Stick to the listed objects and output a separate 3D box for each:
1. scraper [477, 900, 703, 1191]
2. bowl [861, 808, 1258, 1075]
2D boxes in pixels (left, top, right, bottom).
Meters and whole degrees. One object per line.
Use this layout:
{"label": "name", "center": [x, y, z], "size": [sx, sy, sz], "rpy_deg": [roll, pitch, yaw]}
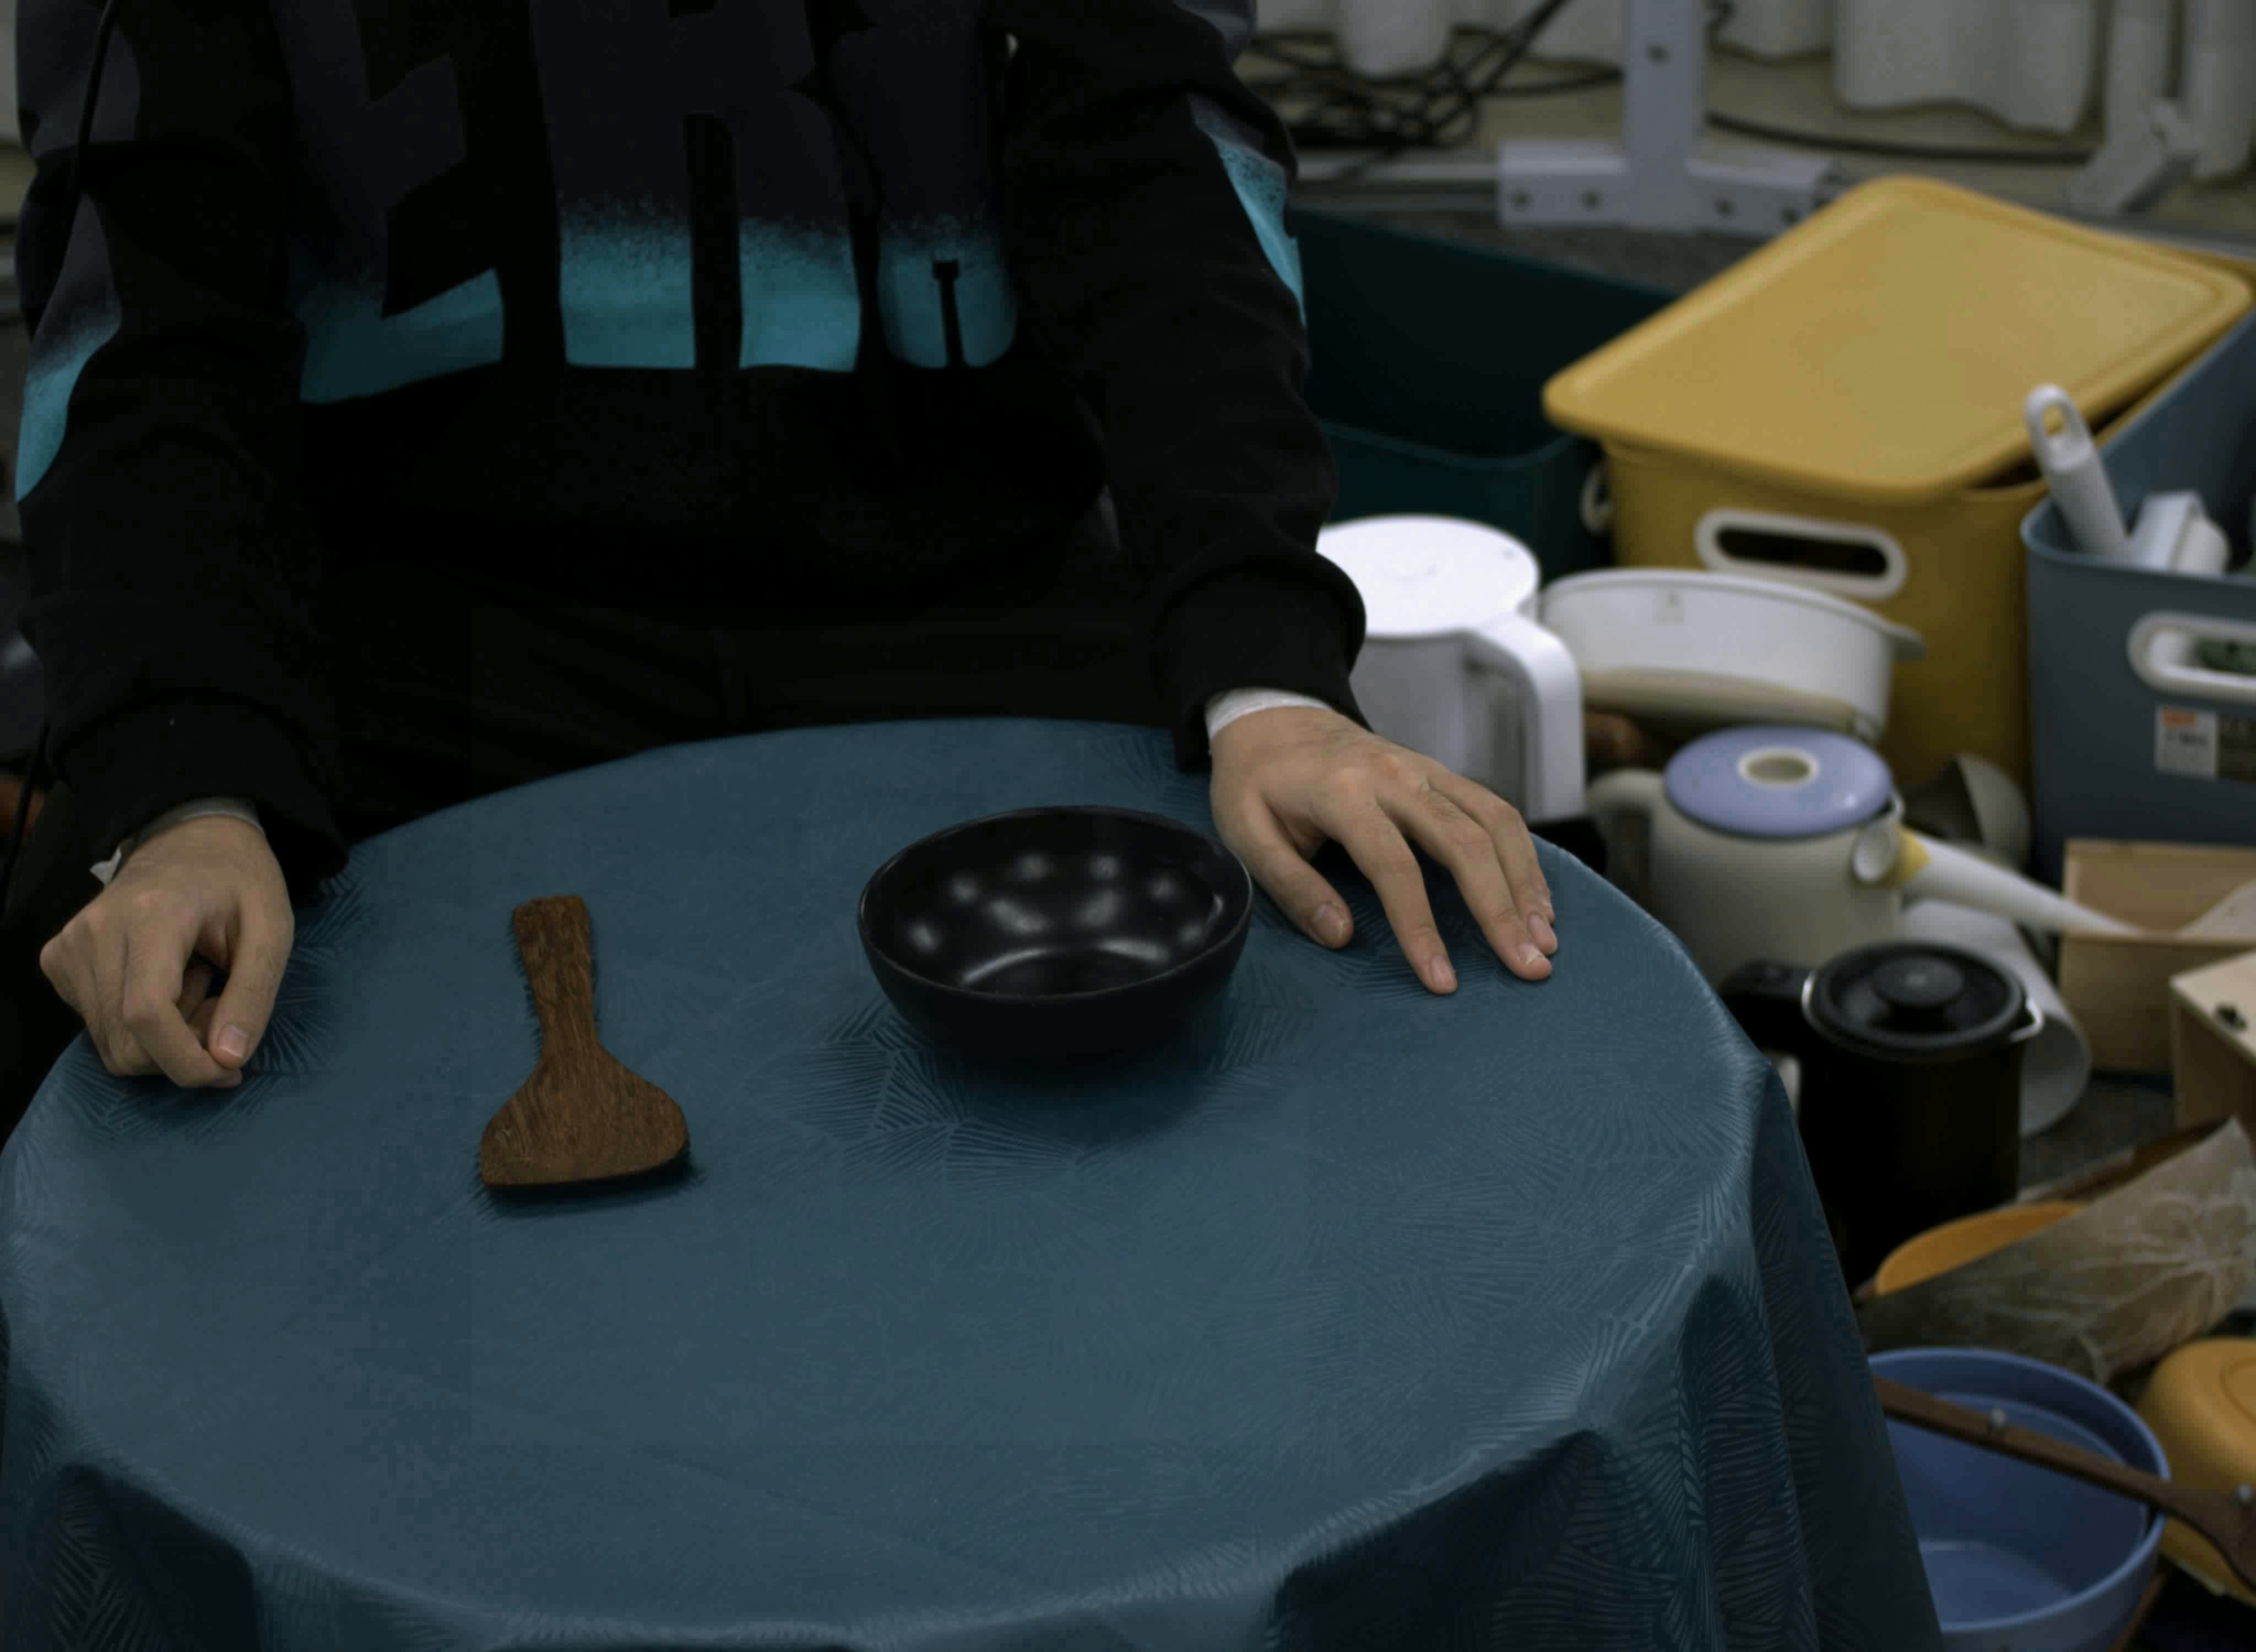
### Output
{"label": "scraper", "center": [-0.194, 0.076, 1.961], "size": [0.075, 0.011, 0.214], "rpy_deg": [-6, 27, -7]}
{"label": "bowl", "center": [-0.022, 0.048, 1.956], "size": [0.139, 0.049, 0.142], "rpy_deg": [-5, 27, 3]}
